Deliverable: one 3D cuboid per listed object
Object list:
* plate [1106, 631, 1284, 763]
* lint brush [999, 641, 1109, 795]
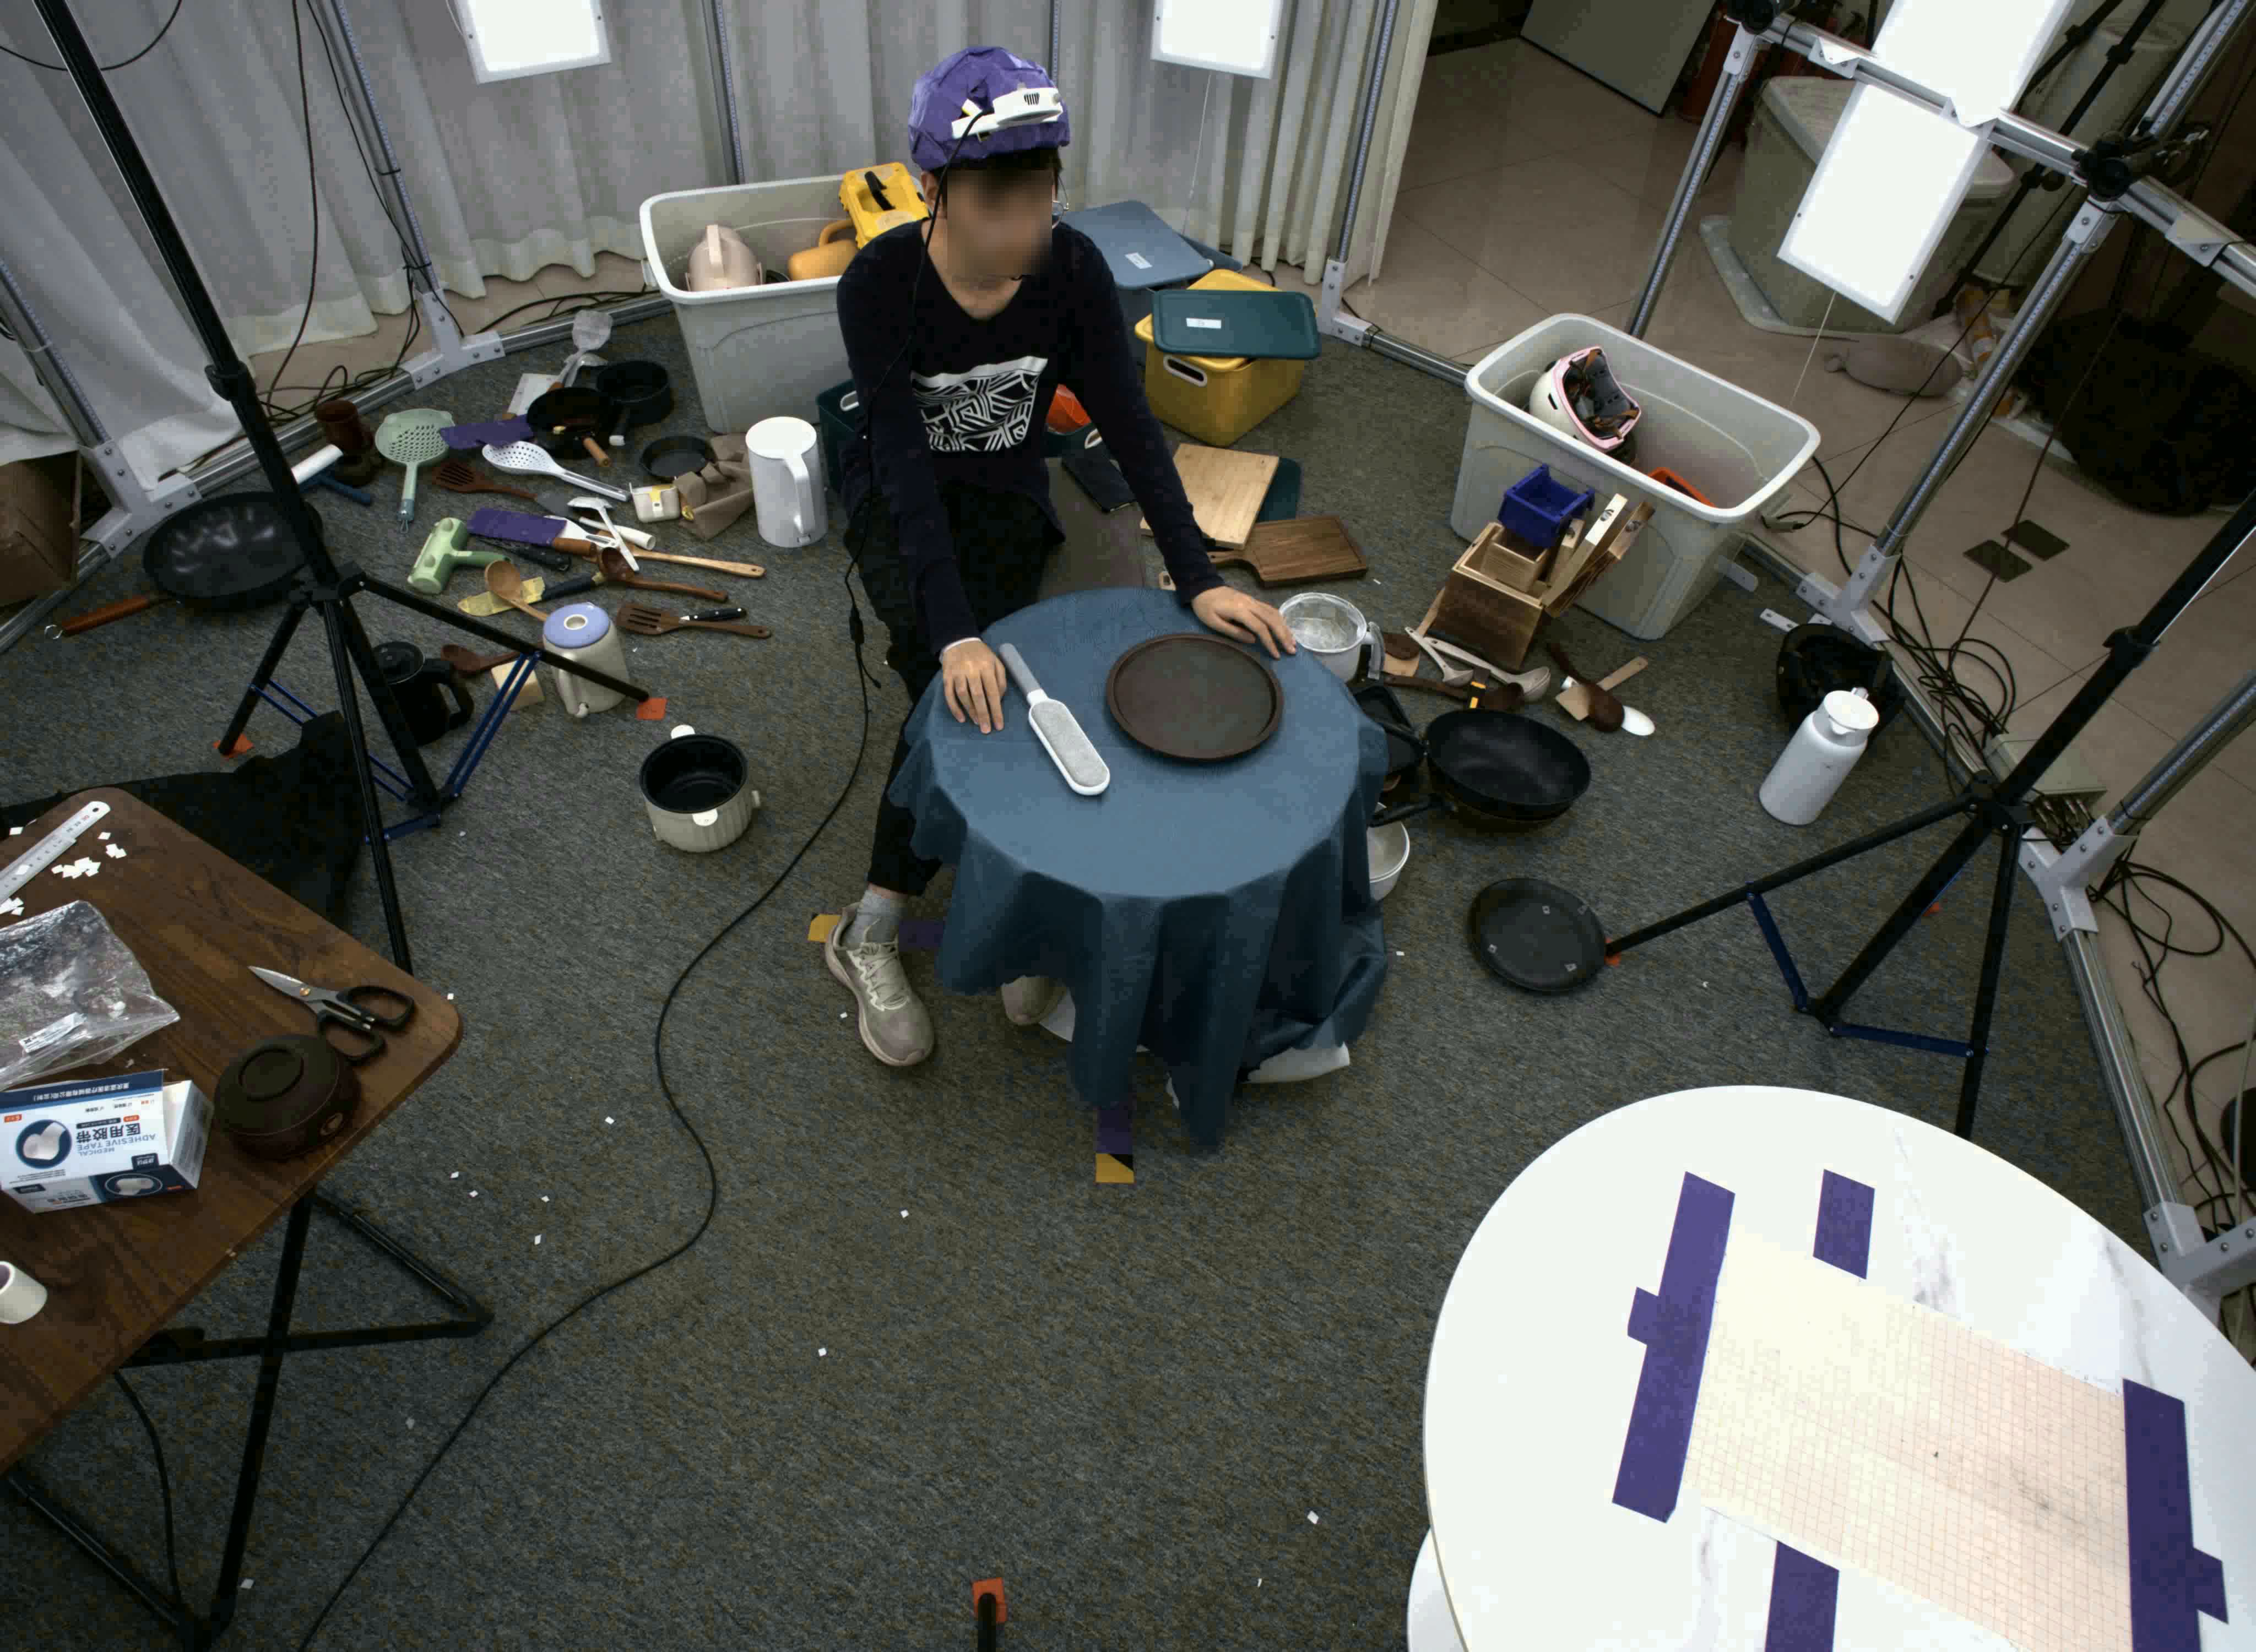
[{"bbox_3d":[0.095,-0.184,1.817,0.254,0.028,0.261,3,49,-4],"label":"plate"},{"bbox_3d":[-0.108,-0.156,1.777,0.060,0.020,0.316,-22,54,-15],"label":"lint brush"}]
